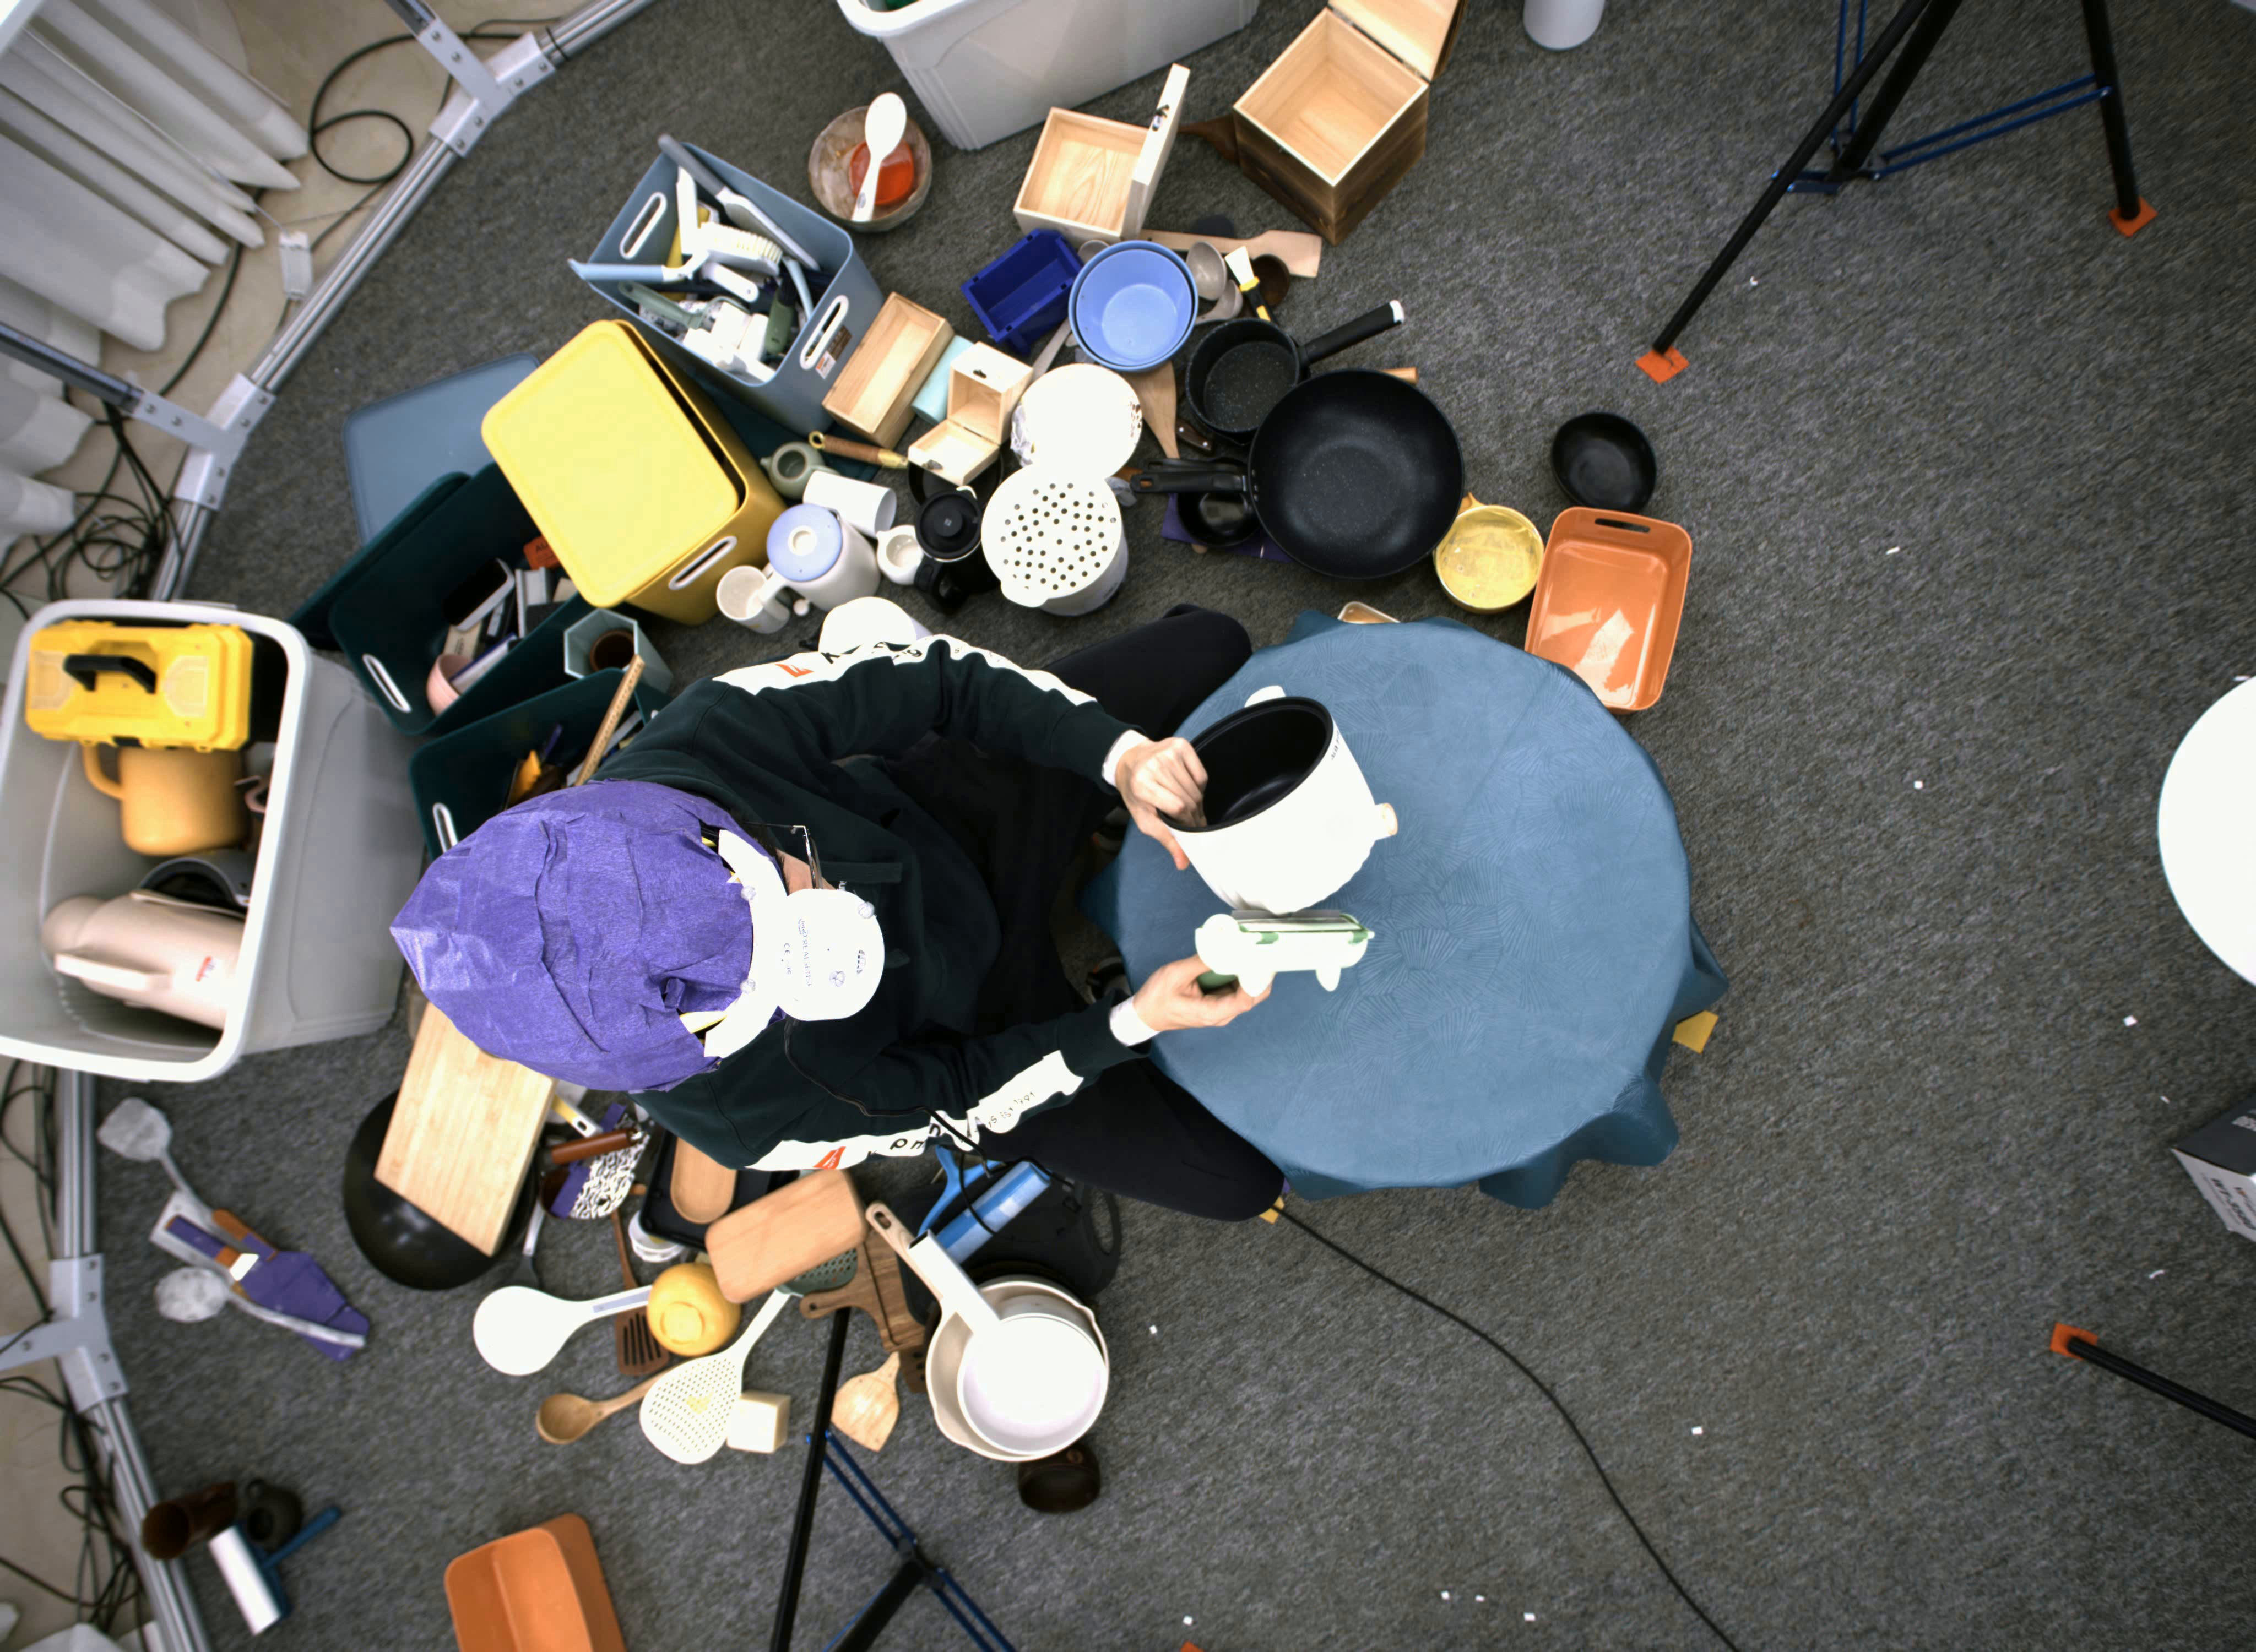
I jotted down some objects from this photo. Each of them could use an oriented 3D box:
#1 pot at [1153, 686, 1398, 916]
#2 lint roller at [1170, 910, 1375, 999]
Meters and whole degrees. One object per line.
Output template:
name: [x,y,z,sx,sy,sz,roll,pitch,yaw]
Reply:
pot: [0.140,-0.014,1.279,0.193,0.234,0.144,-18,125,33]
lint roller: [0.114,0.140,1.314,0.187,0.197,0.081,-37,64,38]
